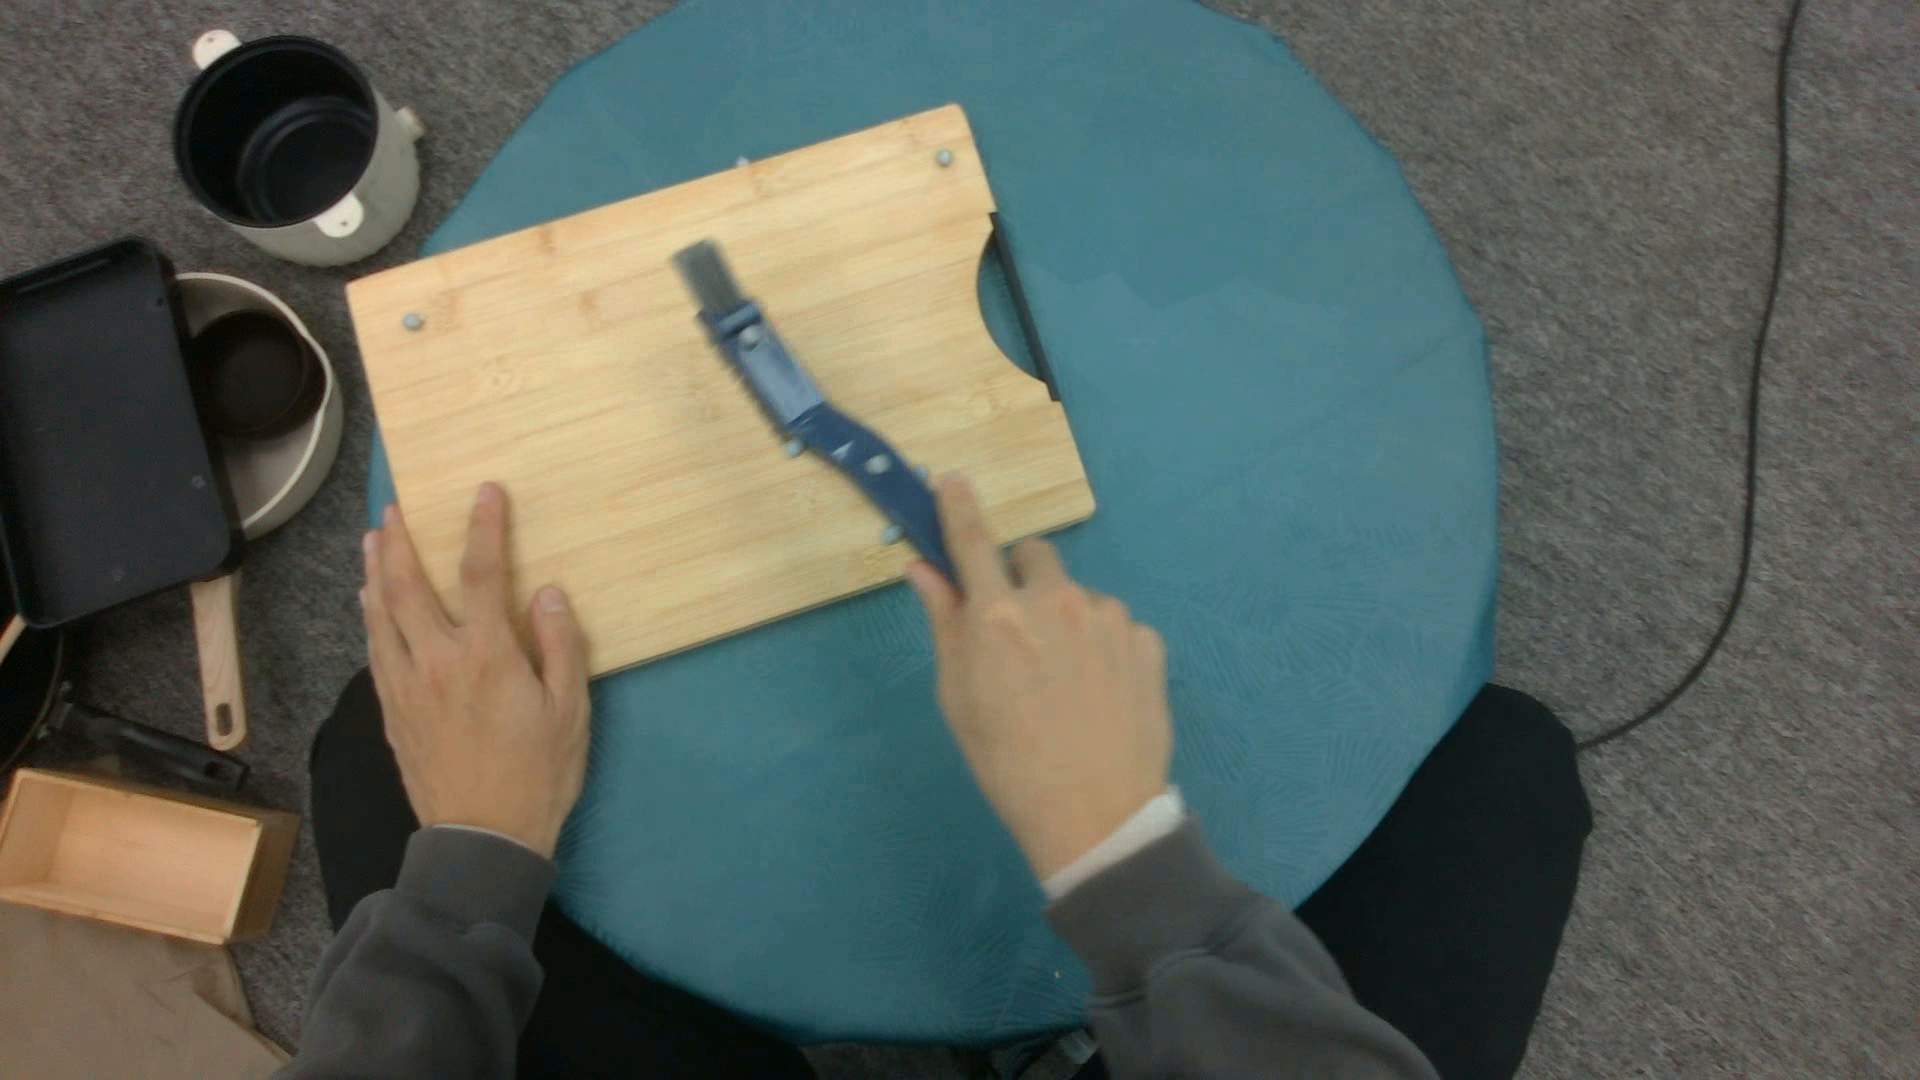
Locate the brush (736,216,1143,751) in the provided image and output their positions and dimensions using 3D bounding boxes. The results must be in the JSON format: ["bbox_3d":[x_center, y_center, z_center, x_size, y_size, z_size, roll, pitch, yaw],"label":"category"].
[{"bbox_3d":[-0.015,-0.027,0.611,0.033,0.095,0.273,-33,67,-27],"label":"brush"}]

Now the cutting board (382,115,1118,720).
[{"bbox_3d":[-0.119,-0.071,0.744,0.349,0.023,0.251,-19,81,-3],"label":"cutting board"}]
